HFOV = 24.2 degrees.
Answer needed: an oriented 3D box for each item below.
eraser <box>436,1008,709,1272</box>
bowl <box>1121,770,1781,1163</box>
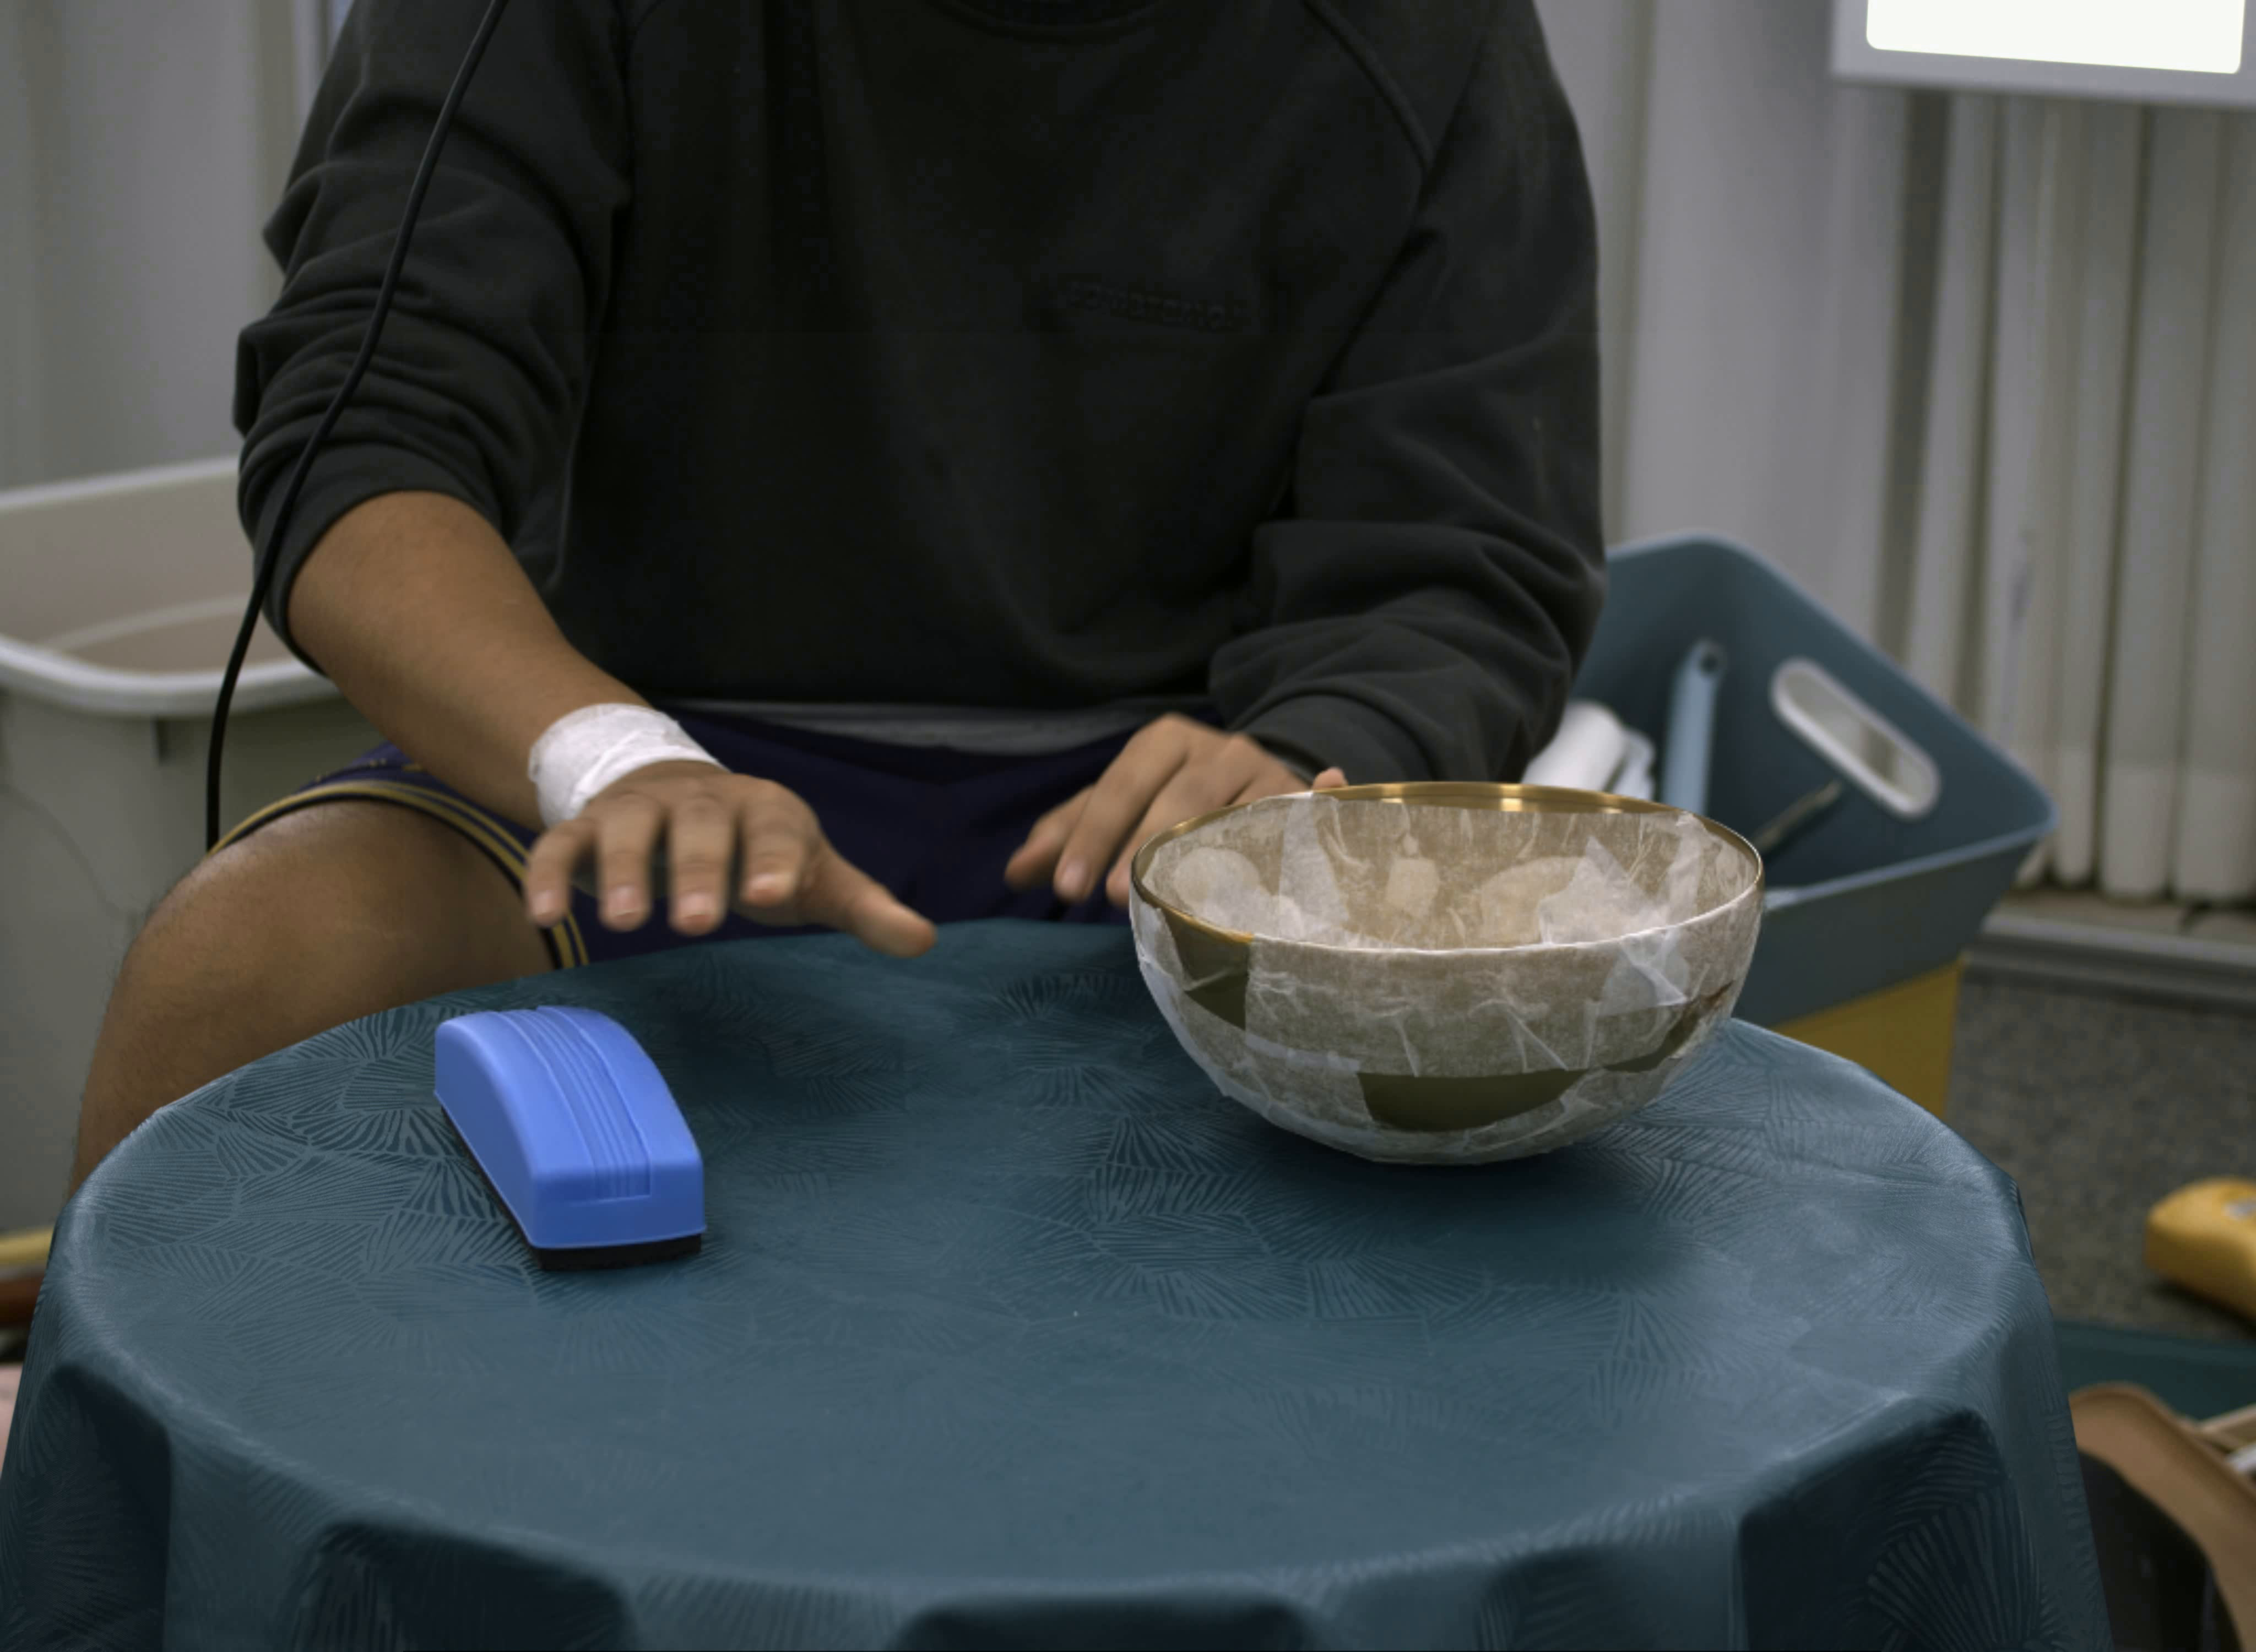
[{"bbox_3d":[-0.173,0.089,1.617,0.054,0.048,0.160,-9,17,-17],"label":"eraser"},{"bbox_3d":[0.101,0.052,1.667,0.214,0.095,0.213,-1,15,1],"label":"bowl"}]
